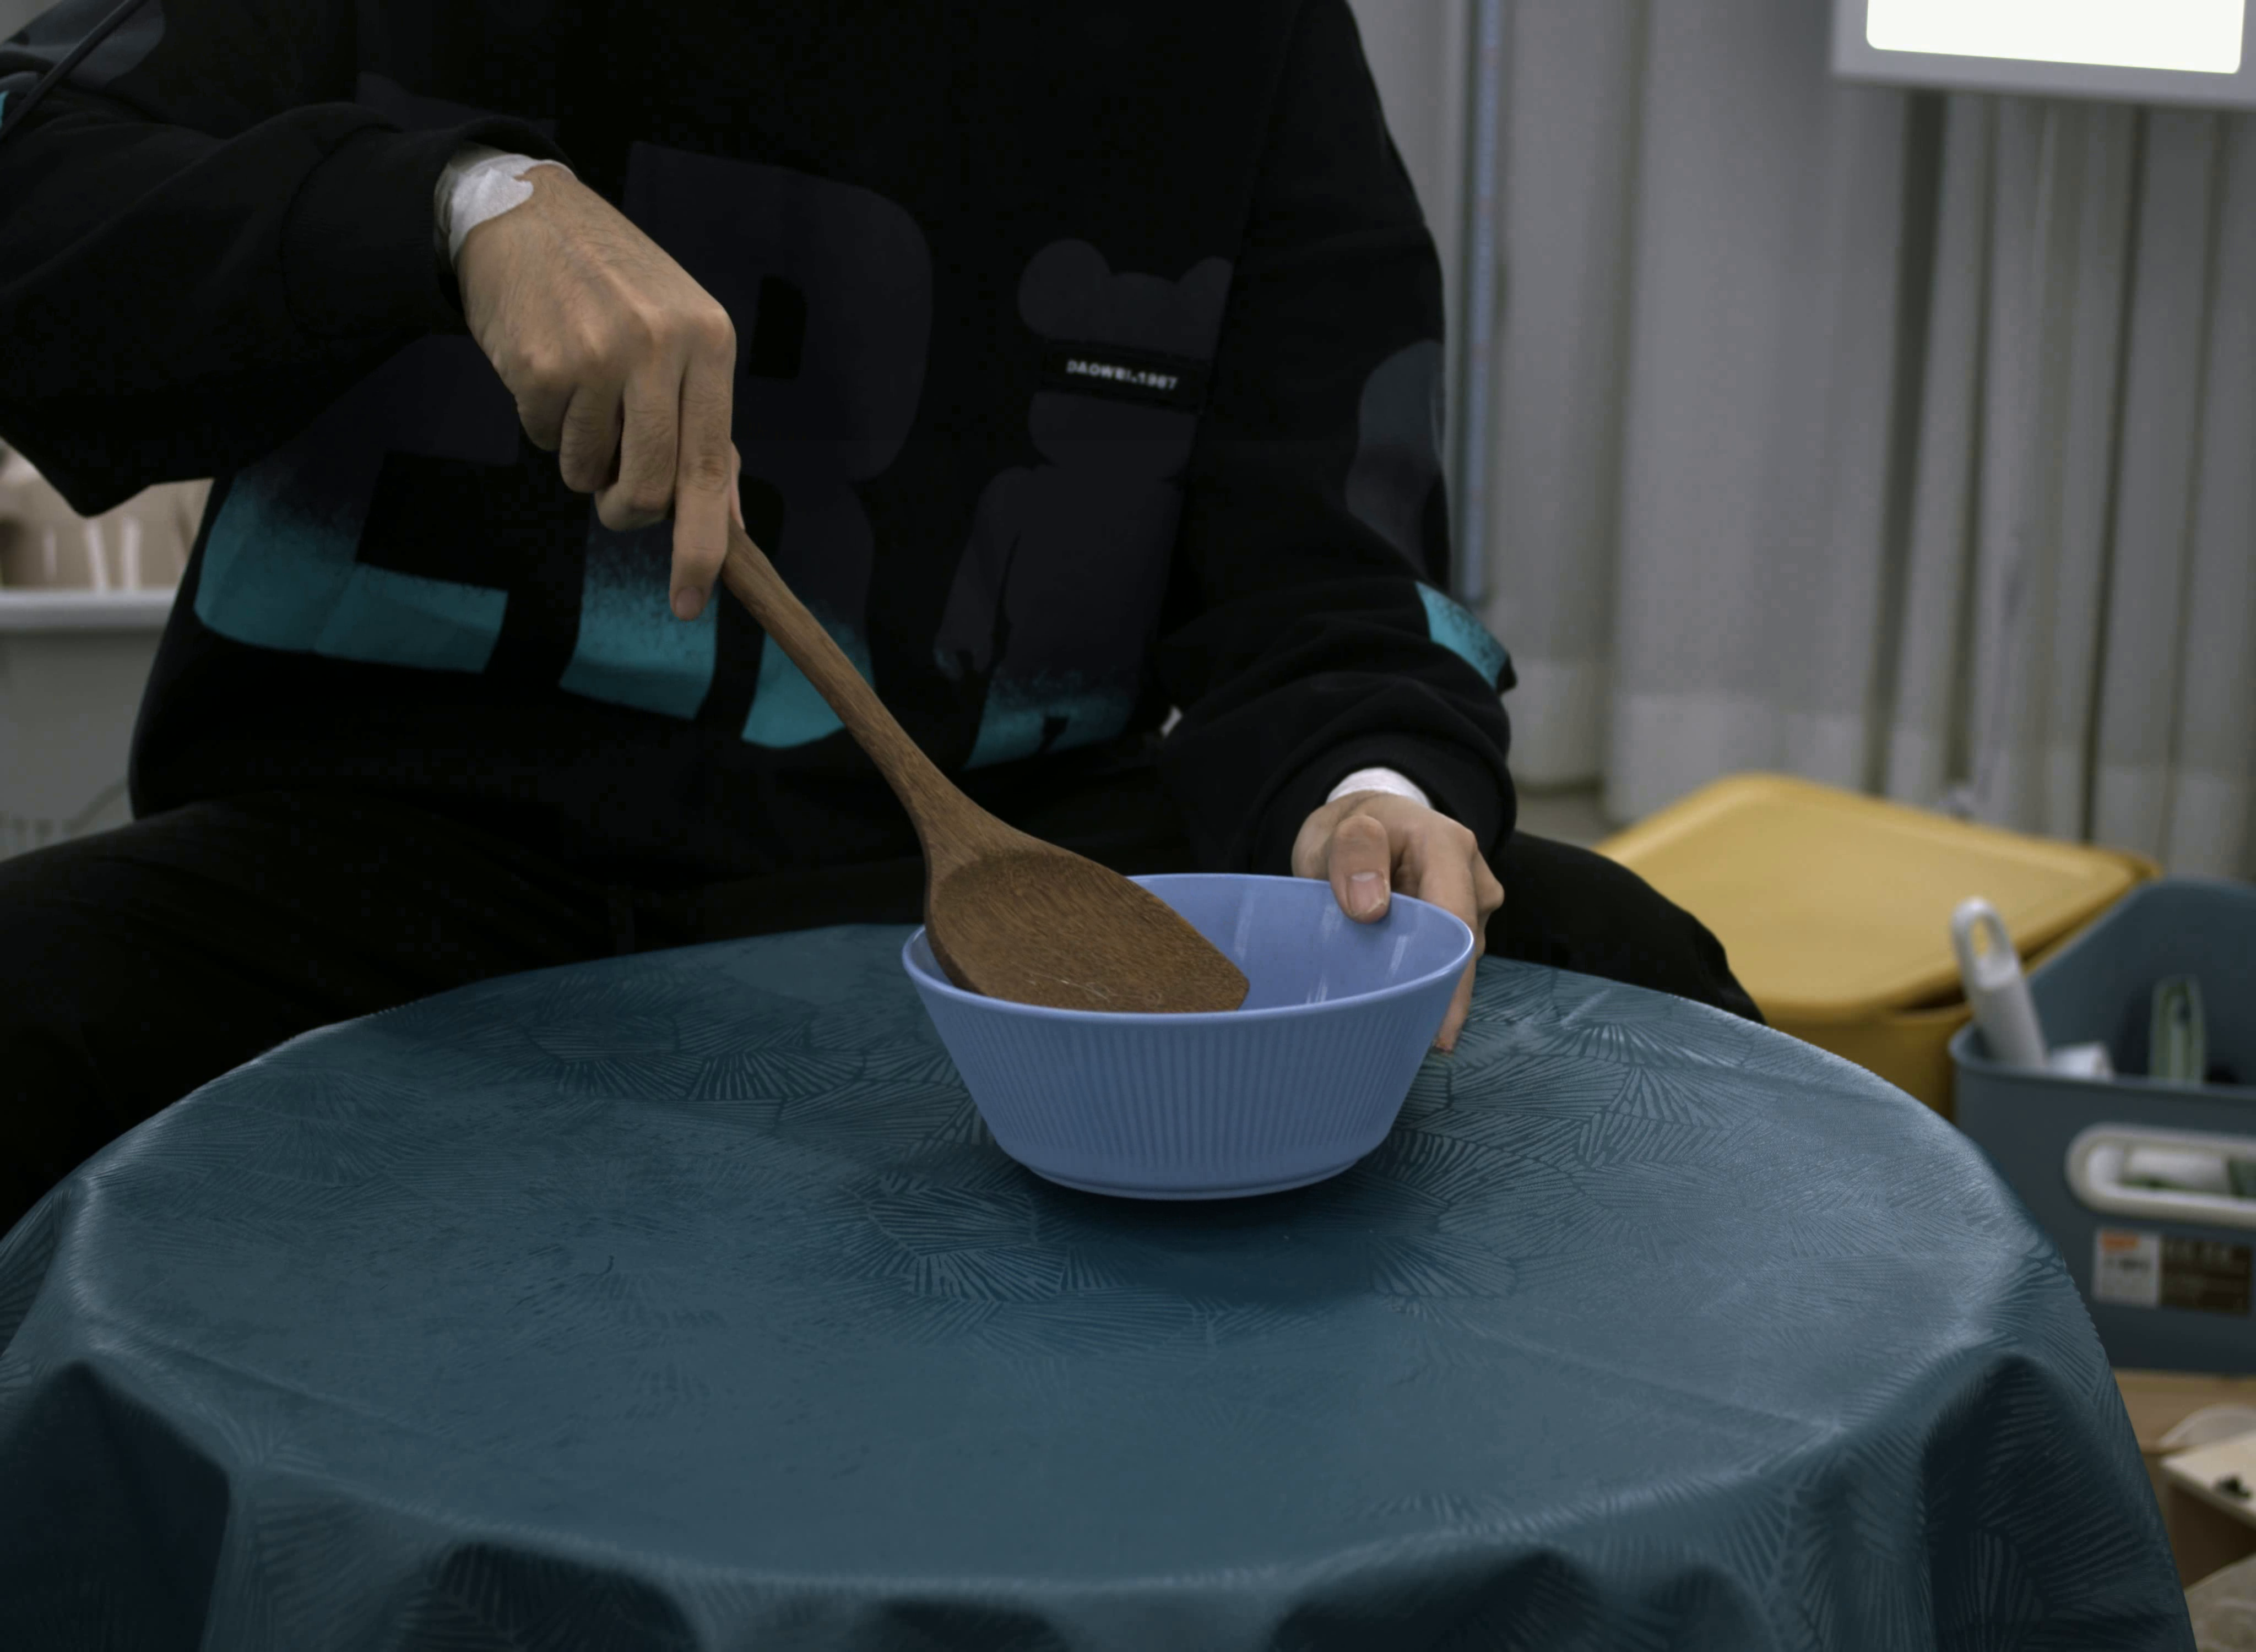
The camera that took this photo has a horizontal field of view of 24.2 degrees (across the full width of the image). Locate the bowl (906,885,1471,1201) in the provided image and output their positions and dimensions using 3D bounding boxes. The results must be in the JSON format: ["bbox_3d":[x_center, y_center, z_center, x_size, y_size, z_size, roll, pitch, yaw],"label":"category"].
[{"bbox_3d":[0.019,0.069,1.629,0.175,0.071,0.175,-1,12,1],"label":"bowl"}]

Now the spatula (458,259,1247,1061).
[{"bbox_3d":[-0.103,-0.060,1.671,0.096,0.016,0.382,-16,56,-43],"label":"spatula"}]
